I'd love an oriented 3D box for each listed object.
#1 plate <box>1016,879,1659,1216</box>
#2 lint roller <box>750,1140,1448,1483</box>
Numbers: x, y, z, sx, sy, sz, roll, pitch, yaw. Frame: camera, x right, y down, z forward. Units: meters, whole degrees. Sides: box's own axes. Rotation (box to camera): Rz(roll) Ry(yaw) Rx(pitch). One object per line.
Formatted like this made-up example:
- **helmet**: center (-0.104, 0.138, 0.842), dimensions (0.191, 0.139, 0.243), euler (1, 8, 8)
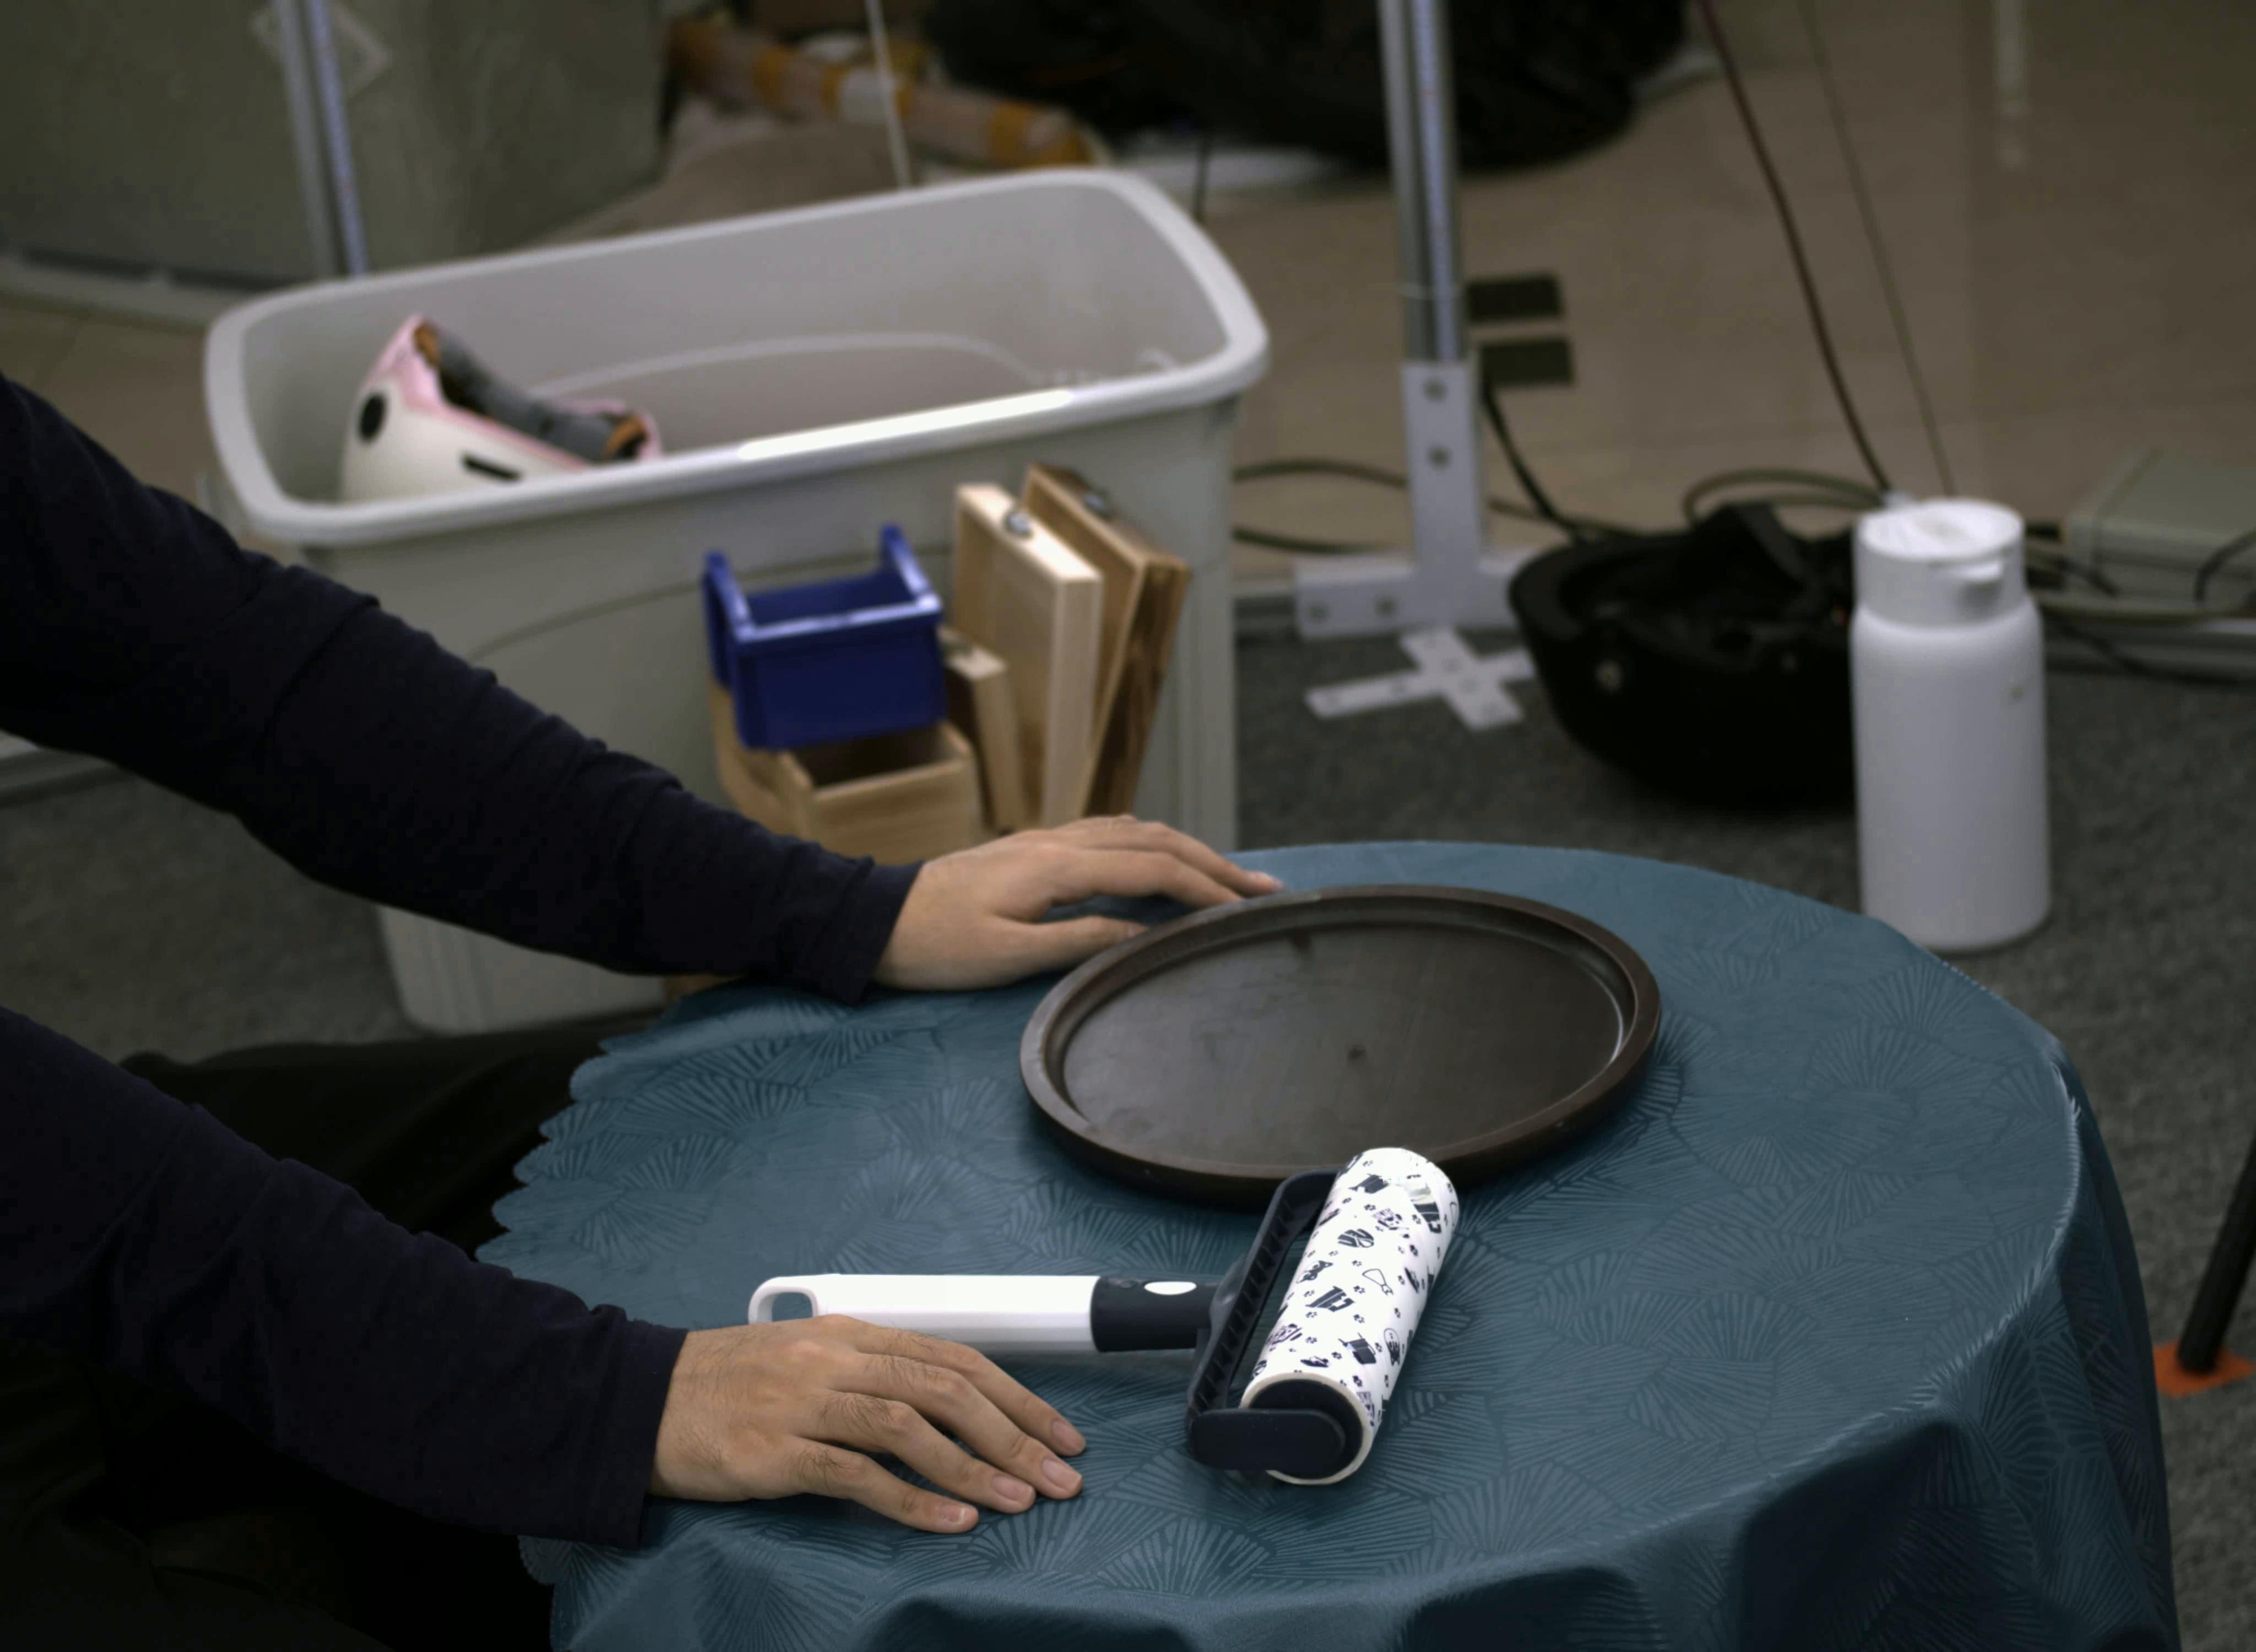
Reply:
- **plate**: center (0.082, 0.086, 2.220), dimensions (0.254, 0.029, 0.251), euler (-7, 24, 3)
- **lint roller**: center (-0.020, 0.174, 2.031), dimensions (0.246, 0.051, 0.174), euler (-2, 26, 16)
